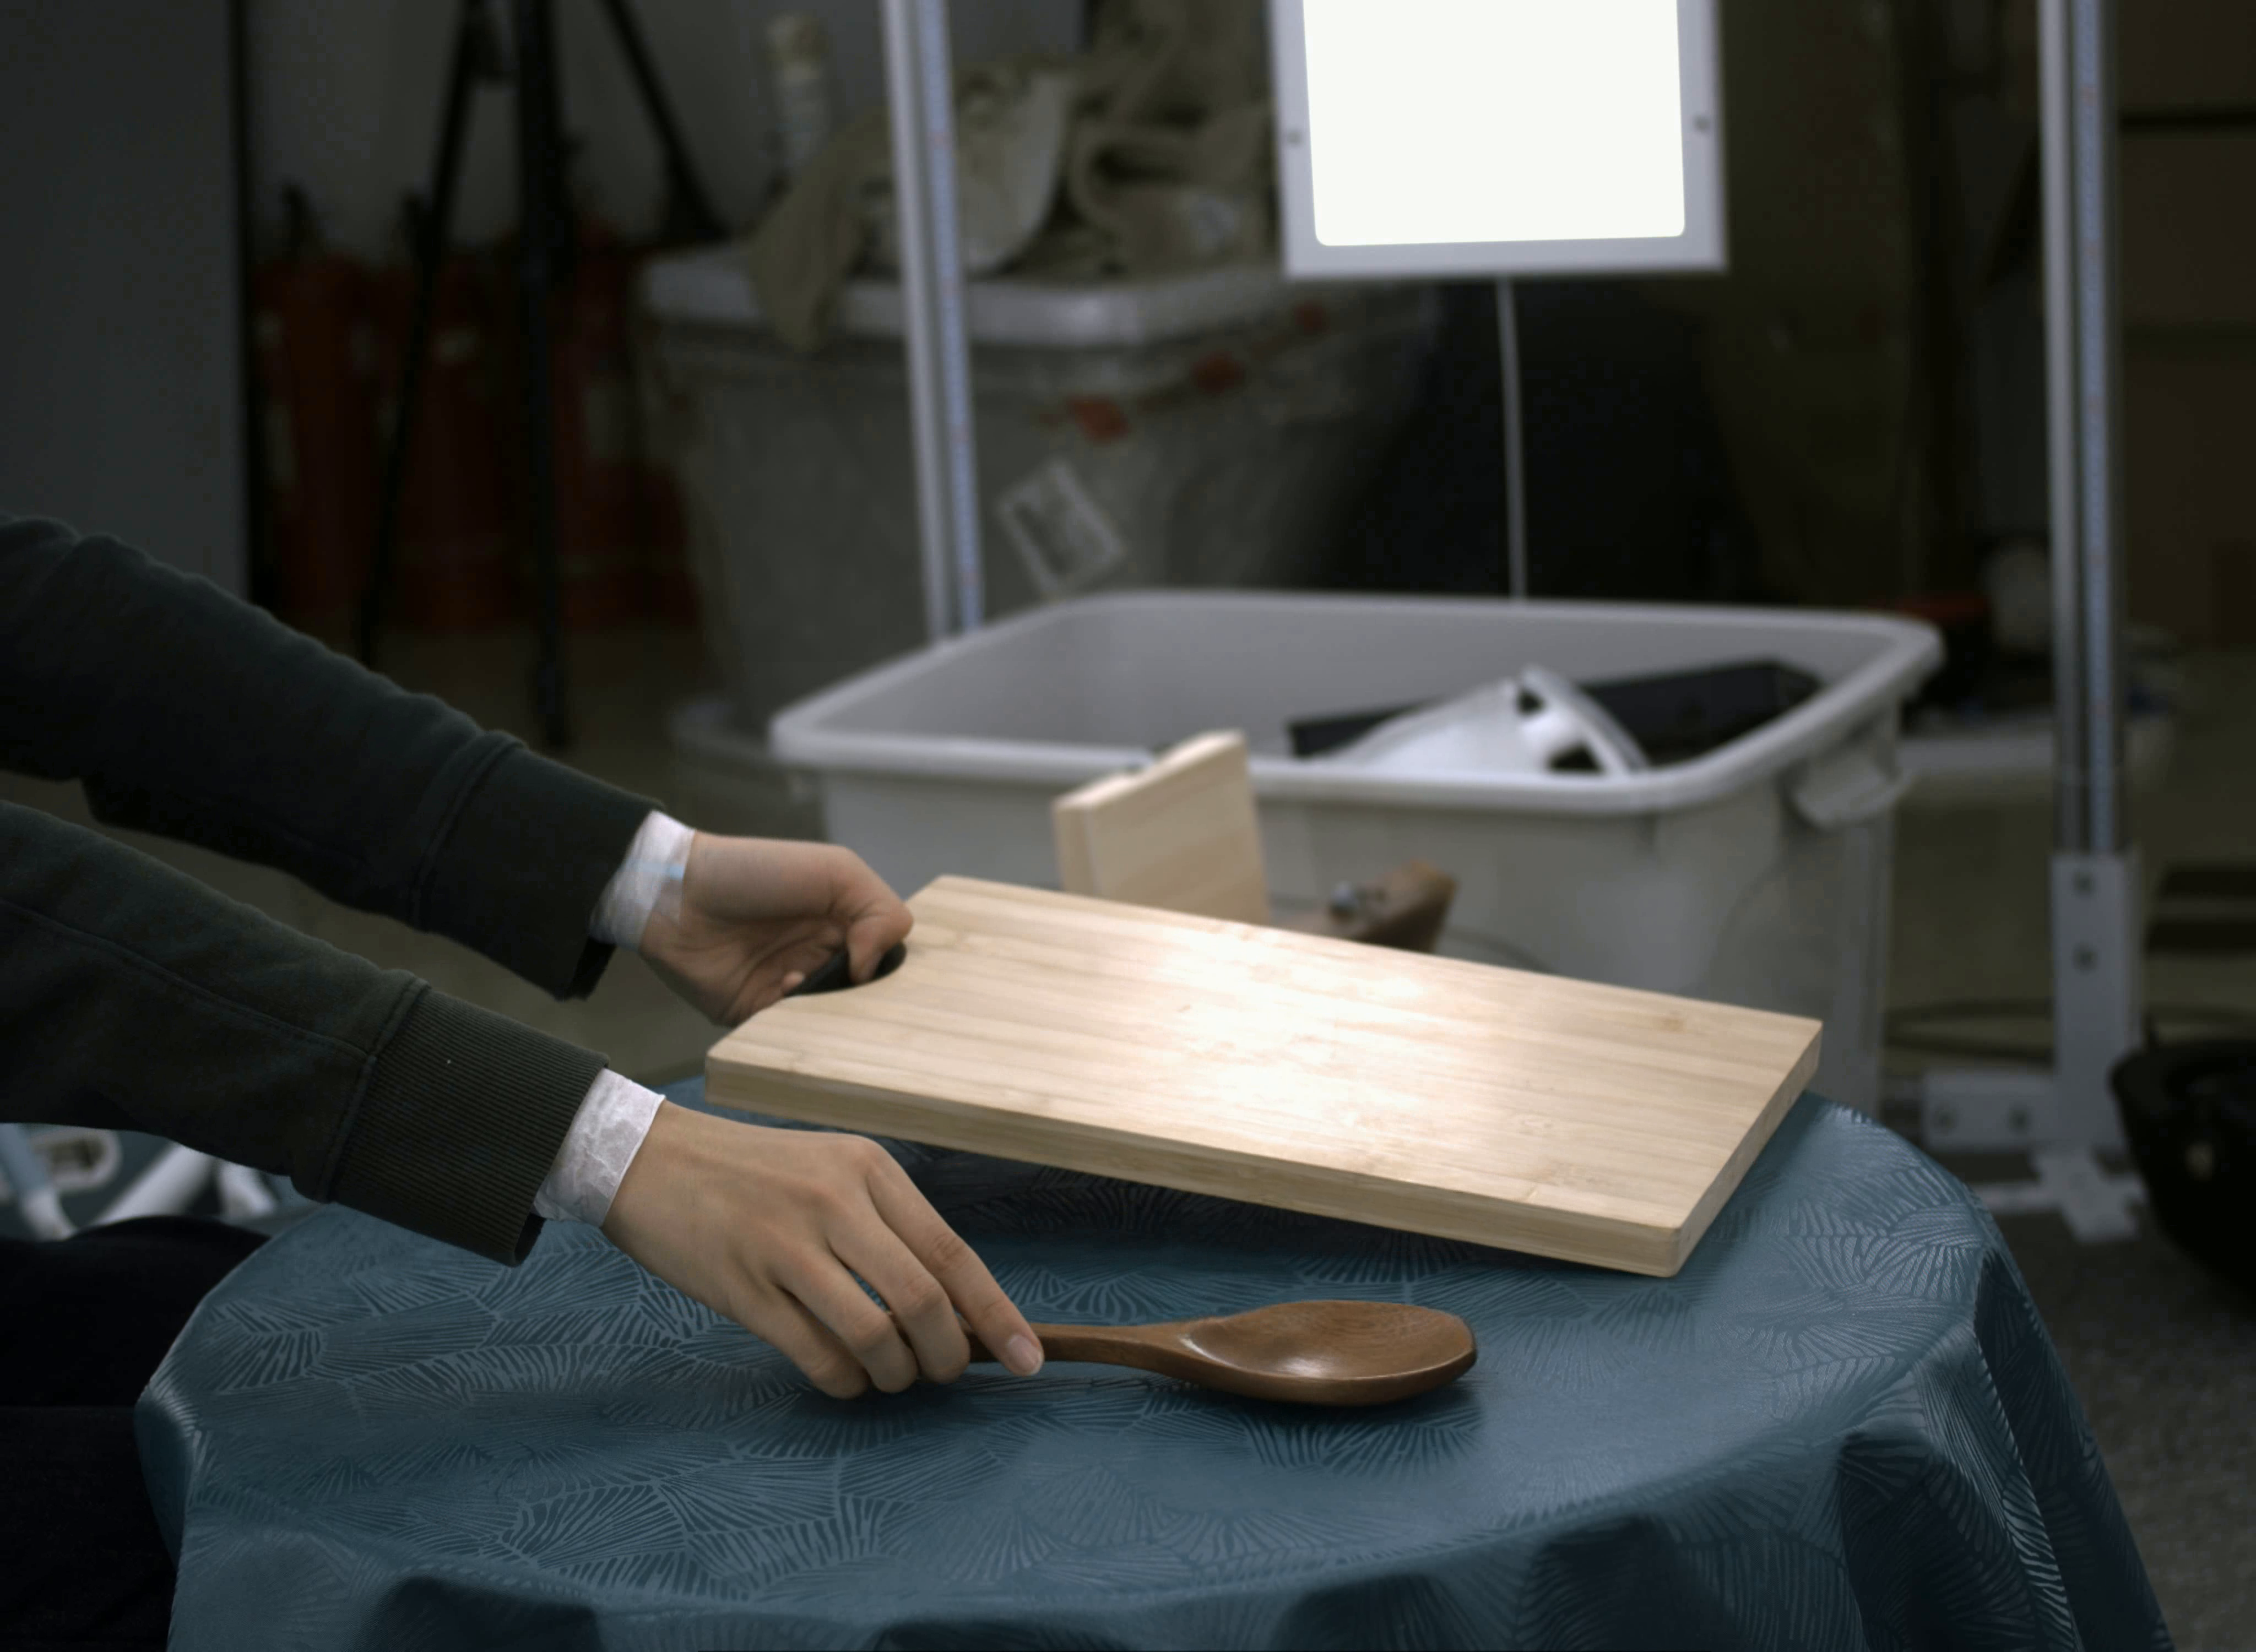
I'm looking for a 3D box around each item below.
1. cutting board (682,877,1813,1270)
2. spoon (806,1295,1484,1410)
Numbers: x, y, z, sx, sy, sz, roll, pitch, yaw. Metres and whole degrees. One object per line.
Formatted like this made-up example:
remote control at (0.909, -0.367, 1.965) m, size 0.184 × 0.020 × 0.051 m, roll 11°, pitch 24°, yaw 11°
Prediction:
cutting board at (0.048, 0.082, 1.921) m, size 0.352 × 0.024 × 0.246 m, roll 8°, pitch 16°, yaw 17°
spoon at (0.004, 0.162, 1.705) m, size 0.218 × 0.017 × 0.074 m, roll 2°, pitch 17°, yaw 16°
